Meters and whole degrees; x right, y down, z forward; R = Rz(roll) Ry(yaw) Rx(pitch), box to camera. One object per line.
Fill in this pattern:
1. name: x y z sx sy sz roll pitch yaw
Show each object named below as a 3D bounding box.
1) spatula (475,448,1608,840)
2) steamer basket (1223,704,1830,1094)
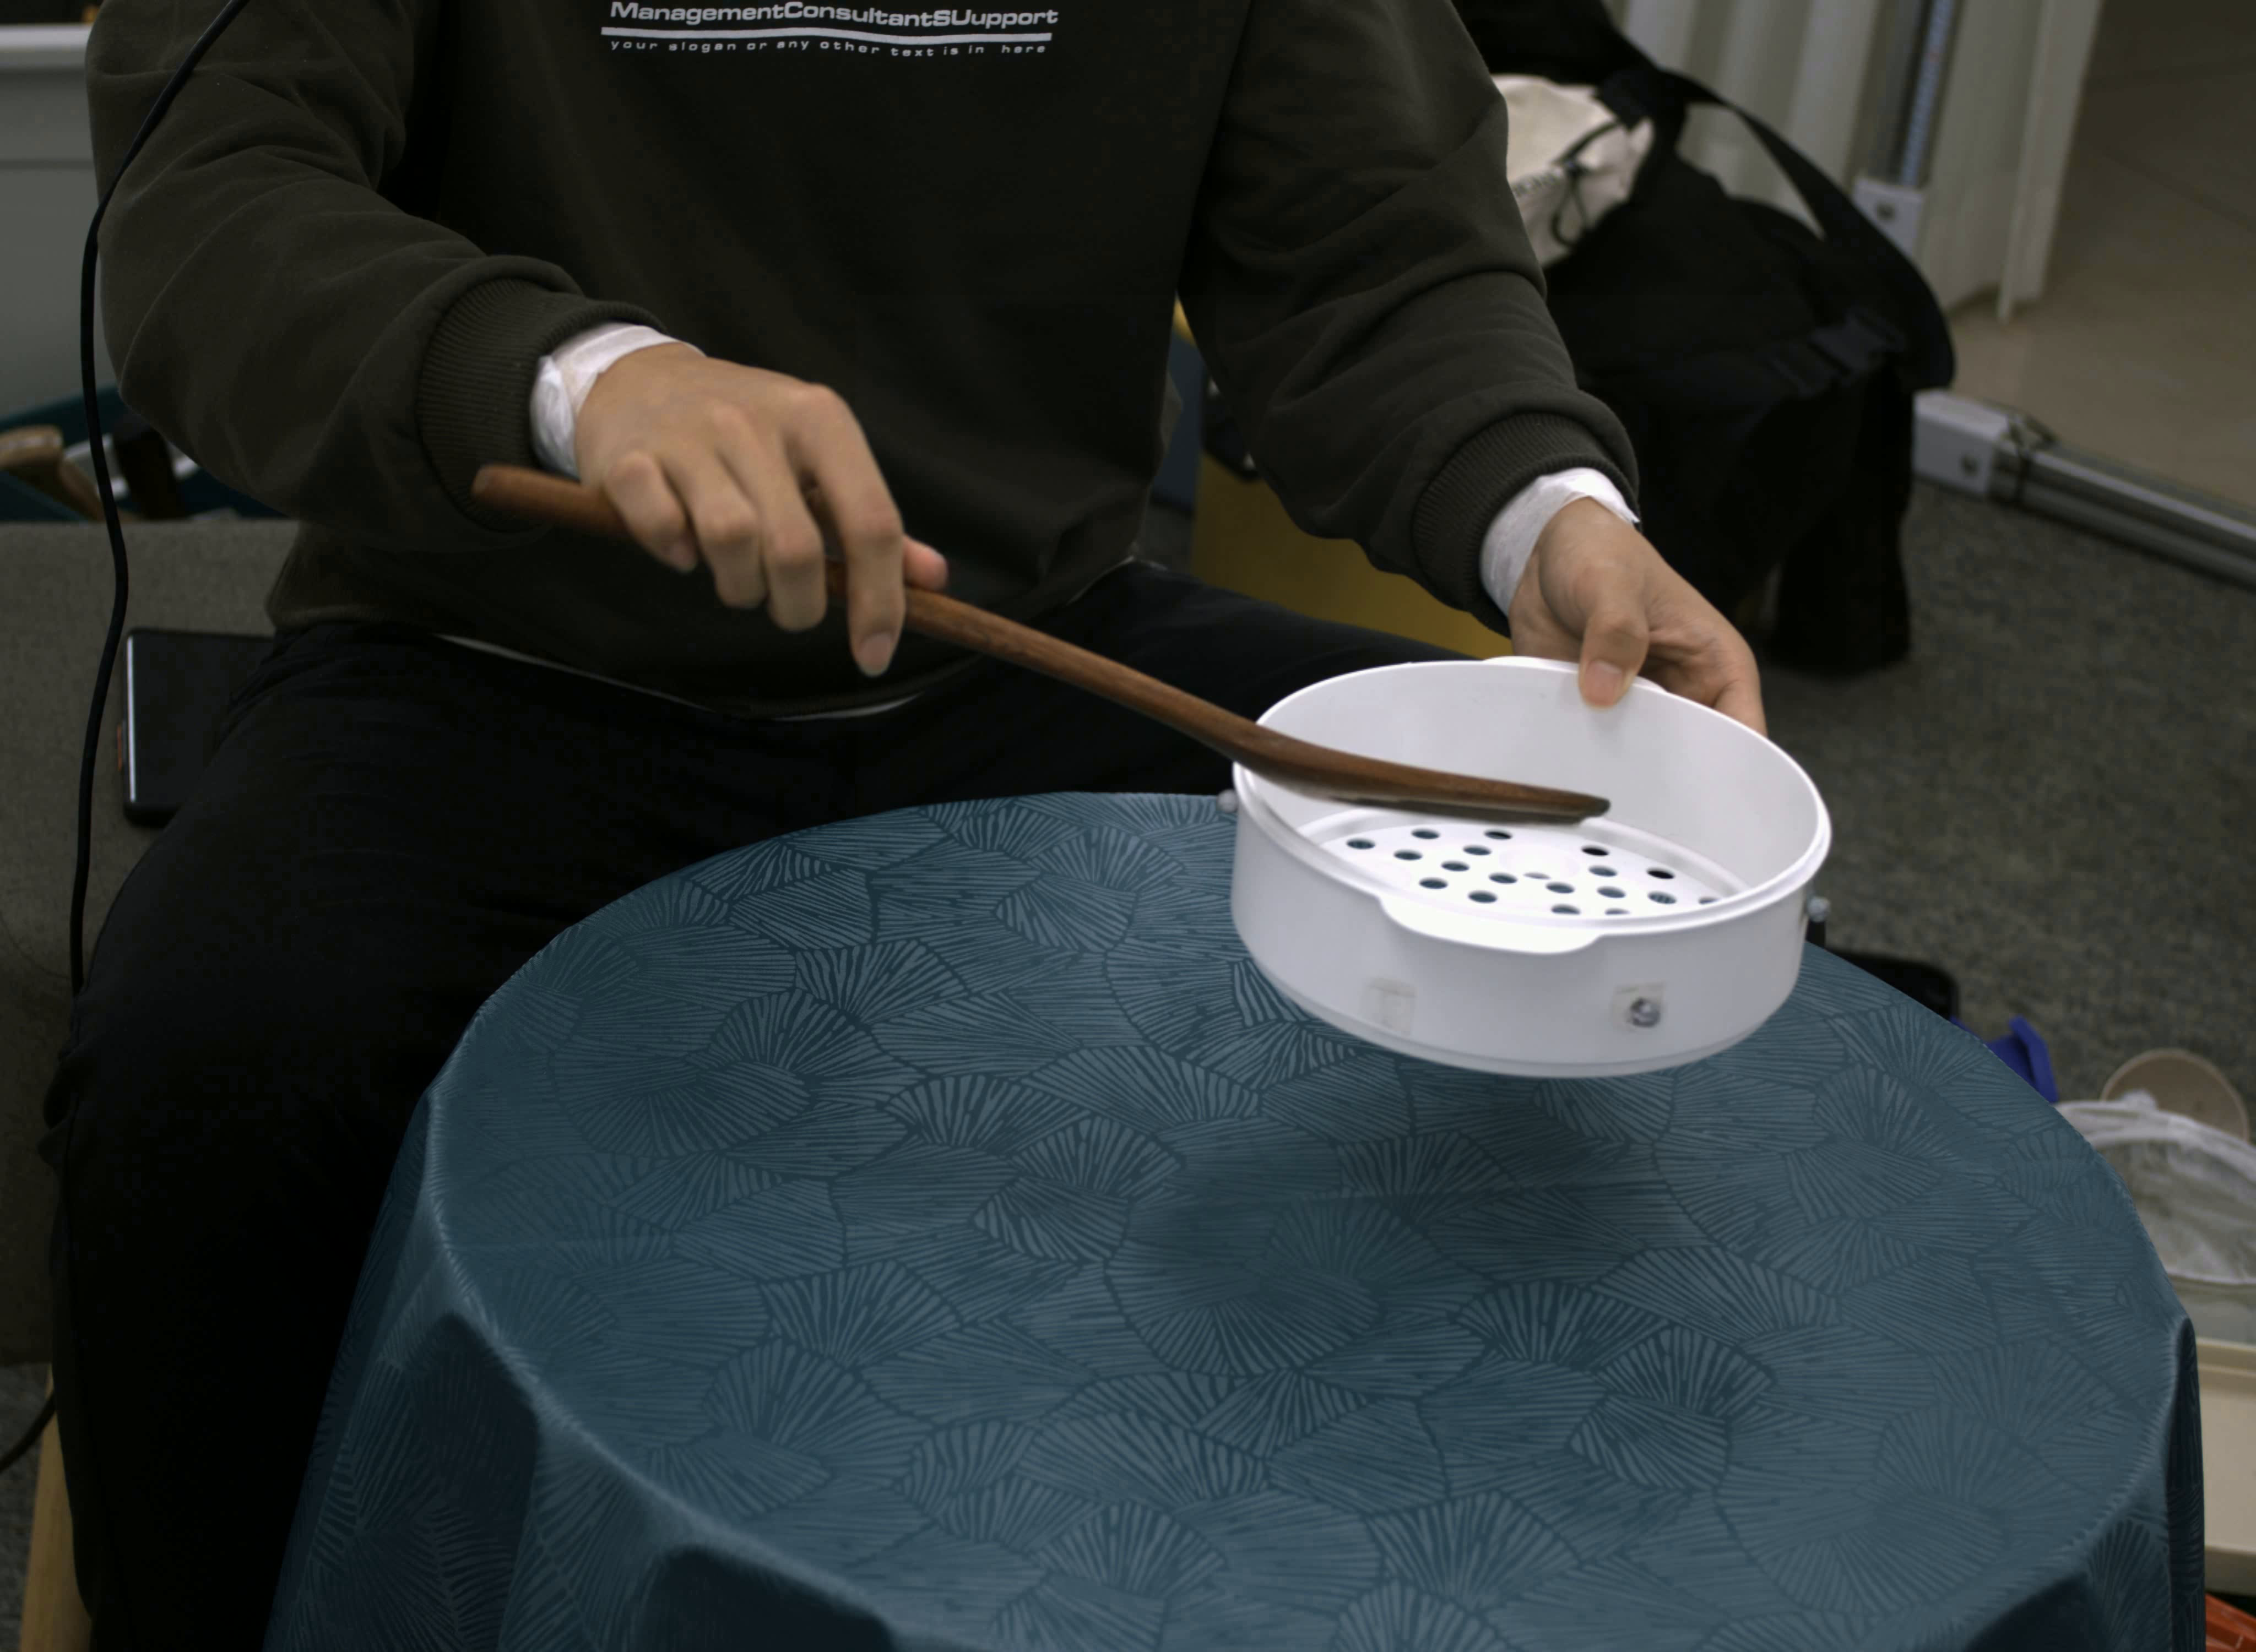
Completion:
1. spatula: -0.027 -0.052 1.698 0.383 0.024 0.086 19 -13 -17
2. steamer basket: 0.131 0.025 1.787 0.202 0.069 0.231 9 22 10
